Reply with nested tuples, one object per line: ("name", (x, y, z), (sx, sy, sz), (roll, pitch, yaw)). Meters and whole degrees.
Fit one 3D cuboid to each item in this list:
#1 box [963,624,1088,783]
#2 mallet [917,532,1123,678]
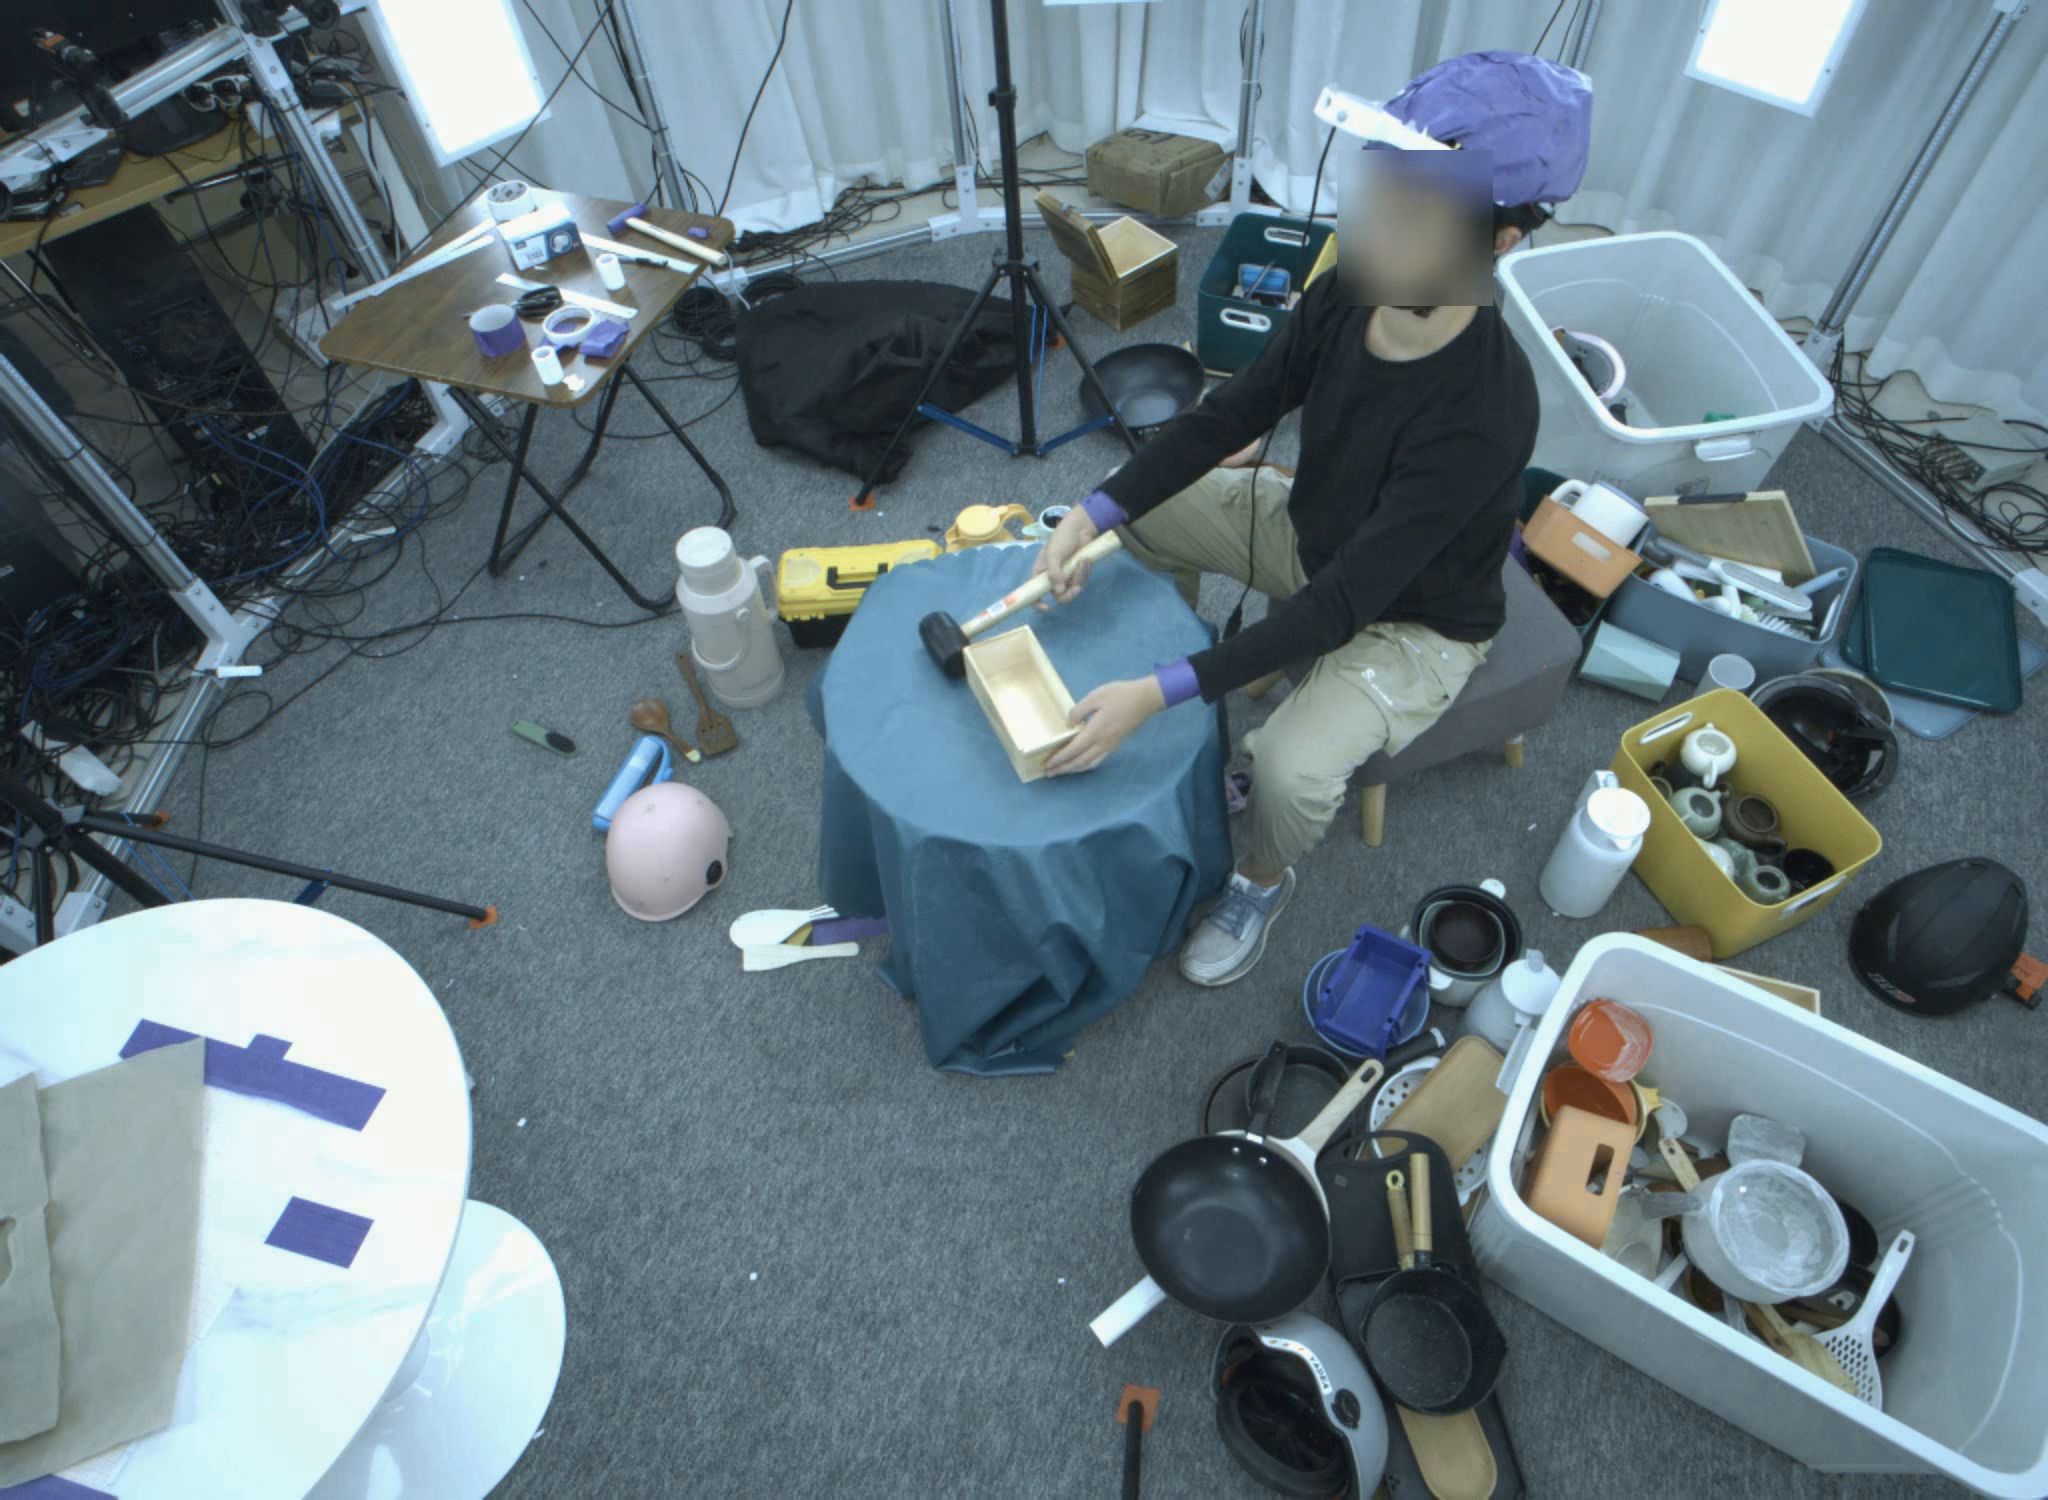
("box", (0.001, -0.070, 1.784), (0.108, 0.081, 0.207), (-21, 57, -13))
("mallet", (-0.004, -0.237, 1.864), (0.339, 0.065, 0.100), (-33, 58, 0))
